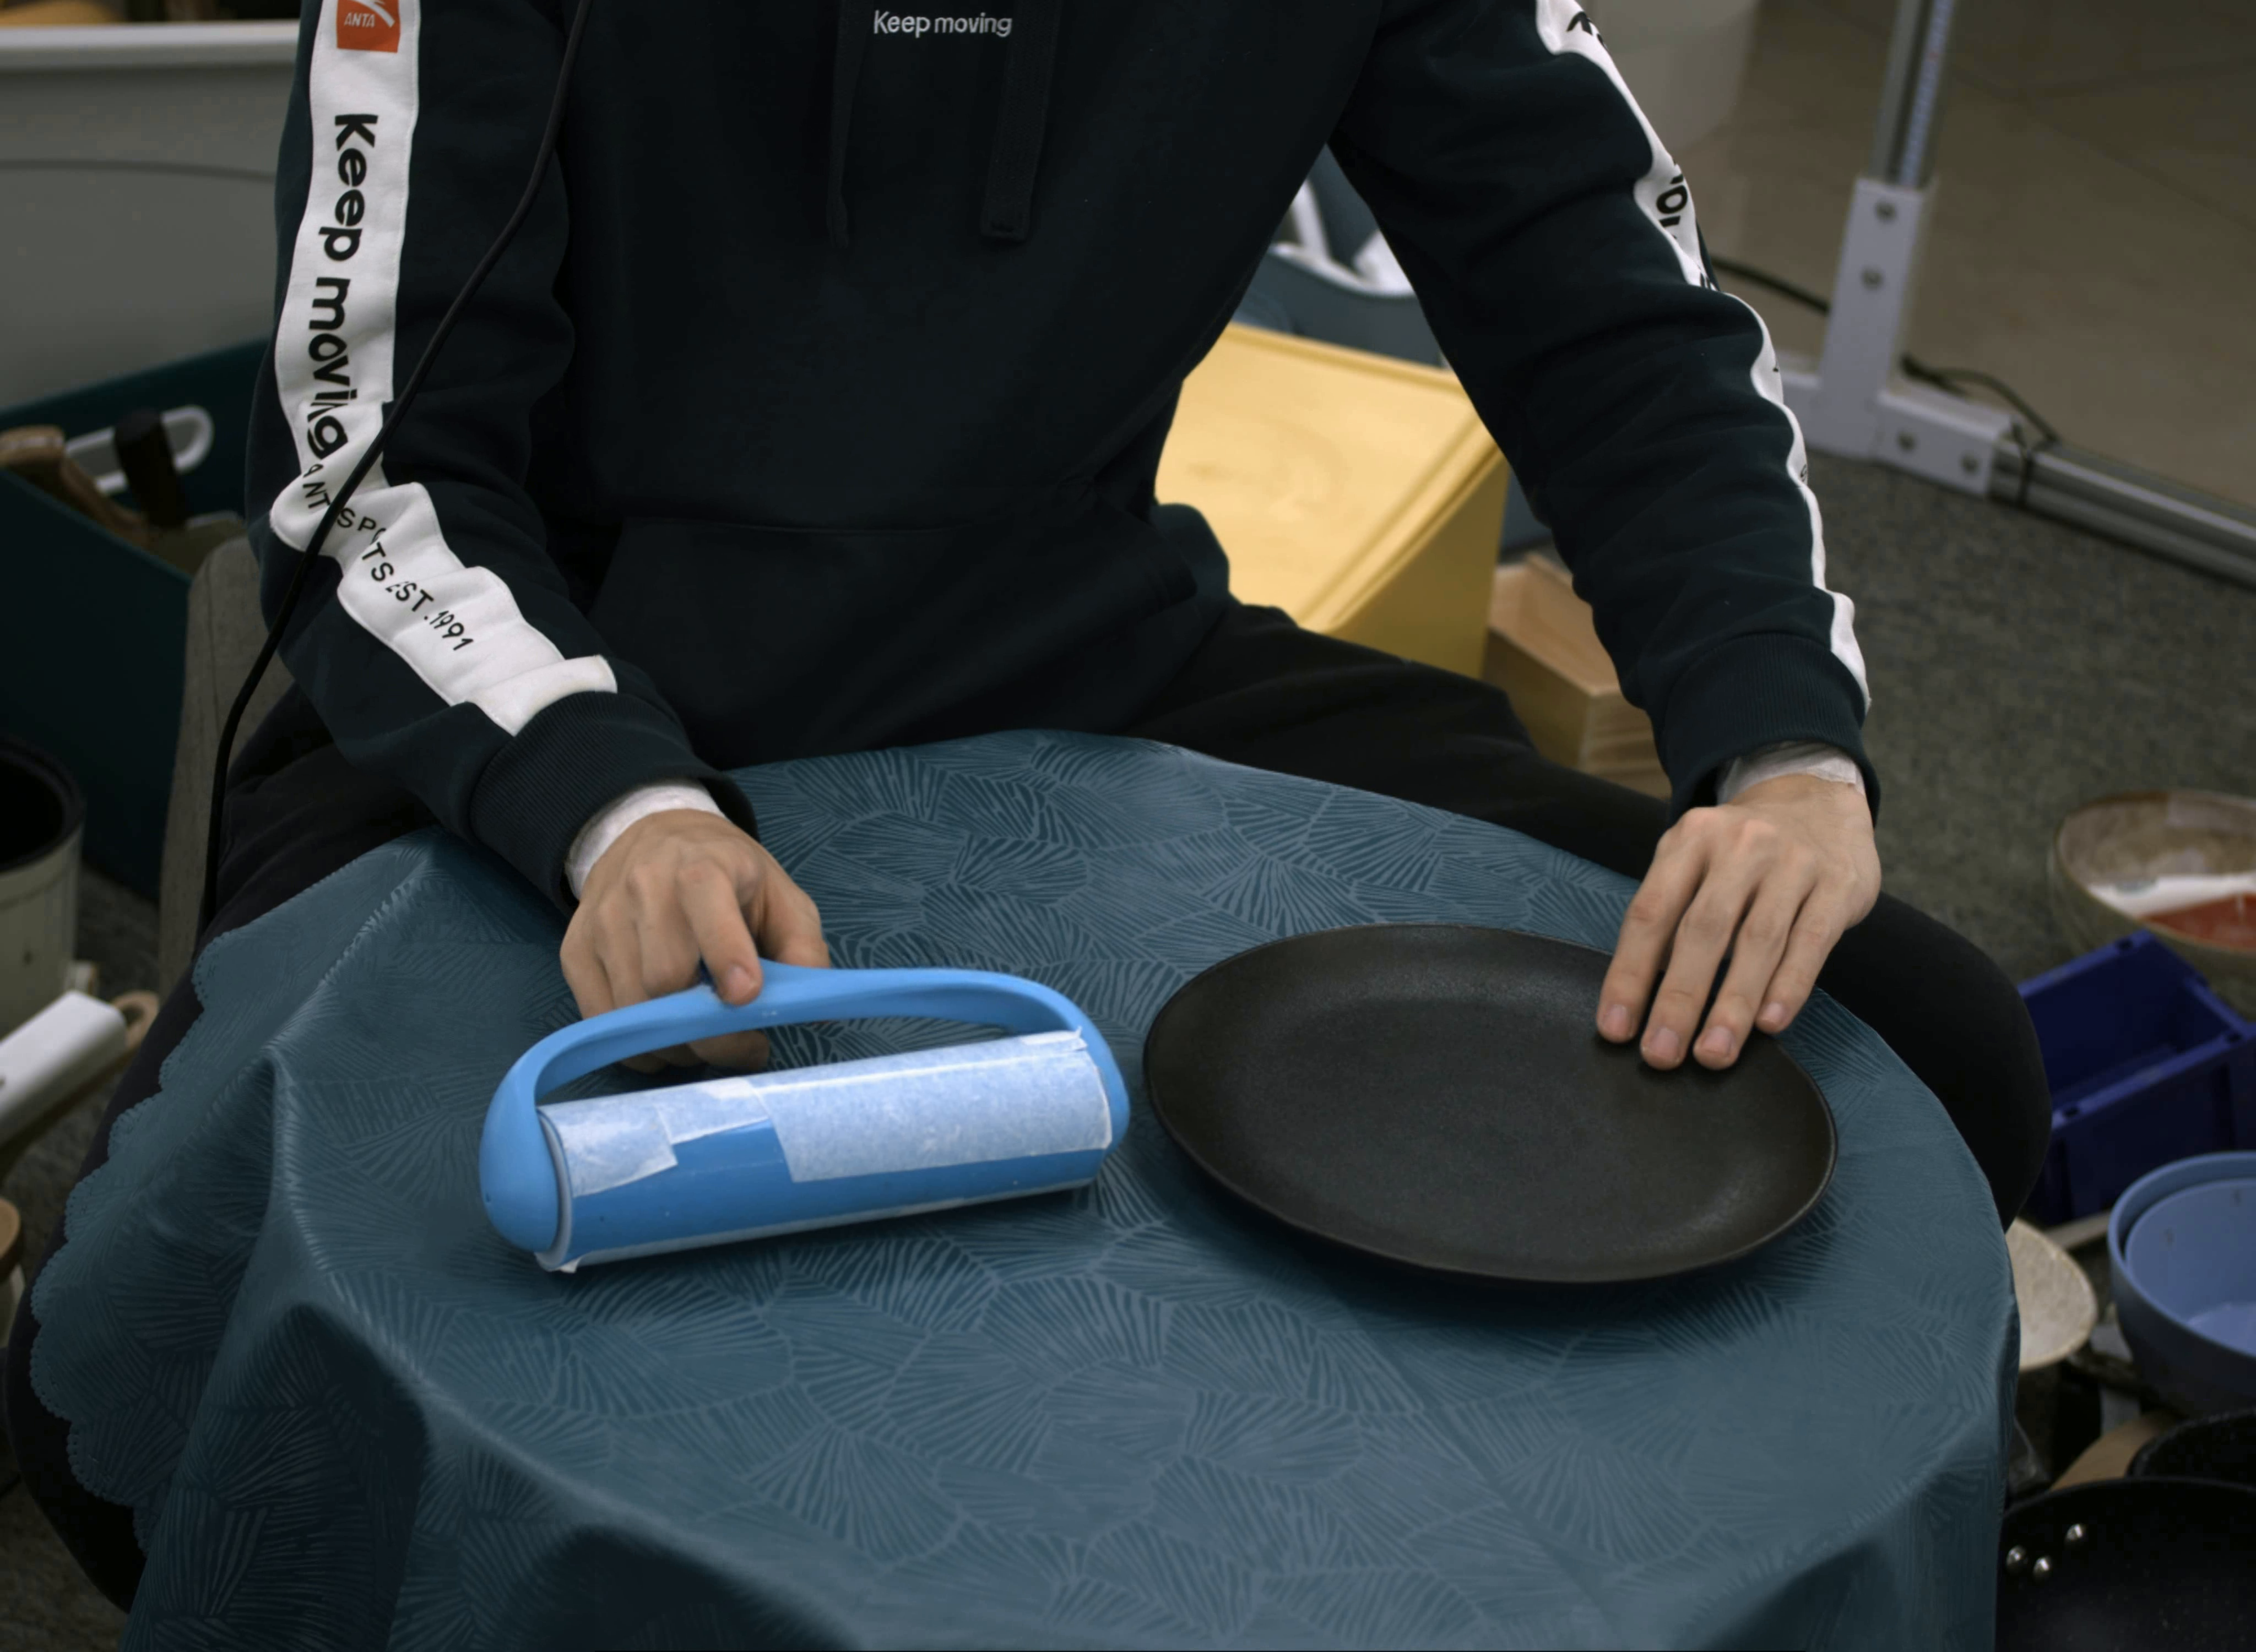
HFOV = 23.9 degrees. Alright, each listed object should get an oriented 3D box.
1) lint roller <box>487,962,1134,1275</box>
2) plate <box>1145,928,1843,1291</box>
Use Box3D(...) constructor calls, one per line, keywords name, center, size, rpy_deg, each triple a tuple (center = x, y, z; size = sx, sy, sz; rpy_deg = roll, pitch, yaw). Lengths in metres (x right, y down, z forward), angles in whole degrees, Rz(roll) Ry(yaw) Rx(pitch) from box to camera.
Box3D(name="lint roller", center=(-0.130, 0.080, 1.794), size=(0.227, 0.068, 0.182), rpy_deg=(-10, 30, -28))
Box3D(name="plate", center=(0.125, 0.102, 1.844), size=(0.243, 0.023, 0.246), rpy_deg=(5, 27, -3))
